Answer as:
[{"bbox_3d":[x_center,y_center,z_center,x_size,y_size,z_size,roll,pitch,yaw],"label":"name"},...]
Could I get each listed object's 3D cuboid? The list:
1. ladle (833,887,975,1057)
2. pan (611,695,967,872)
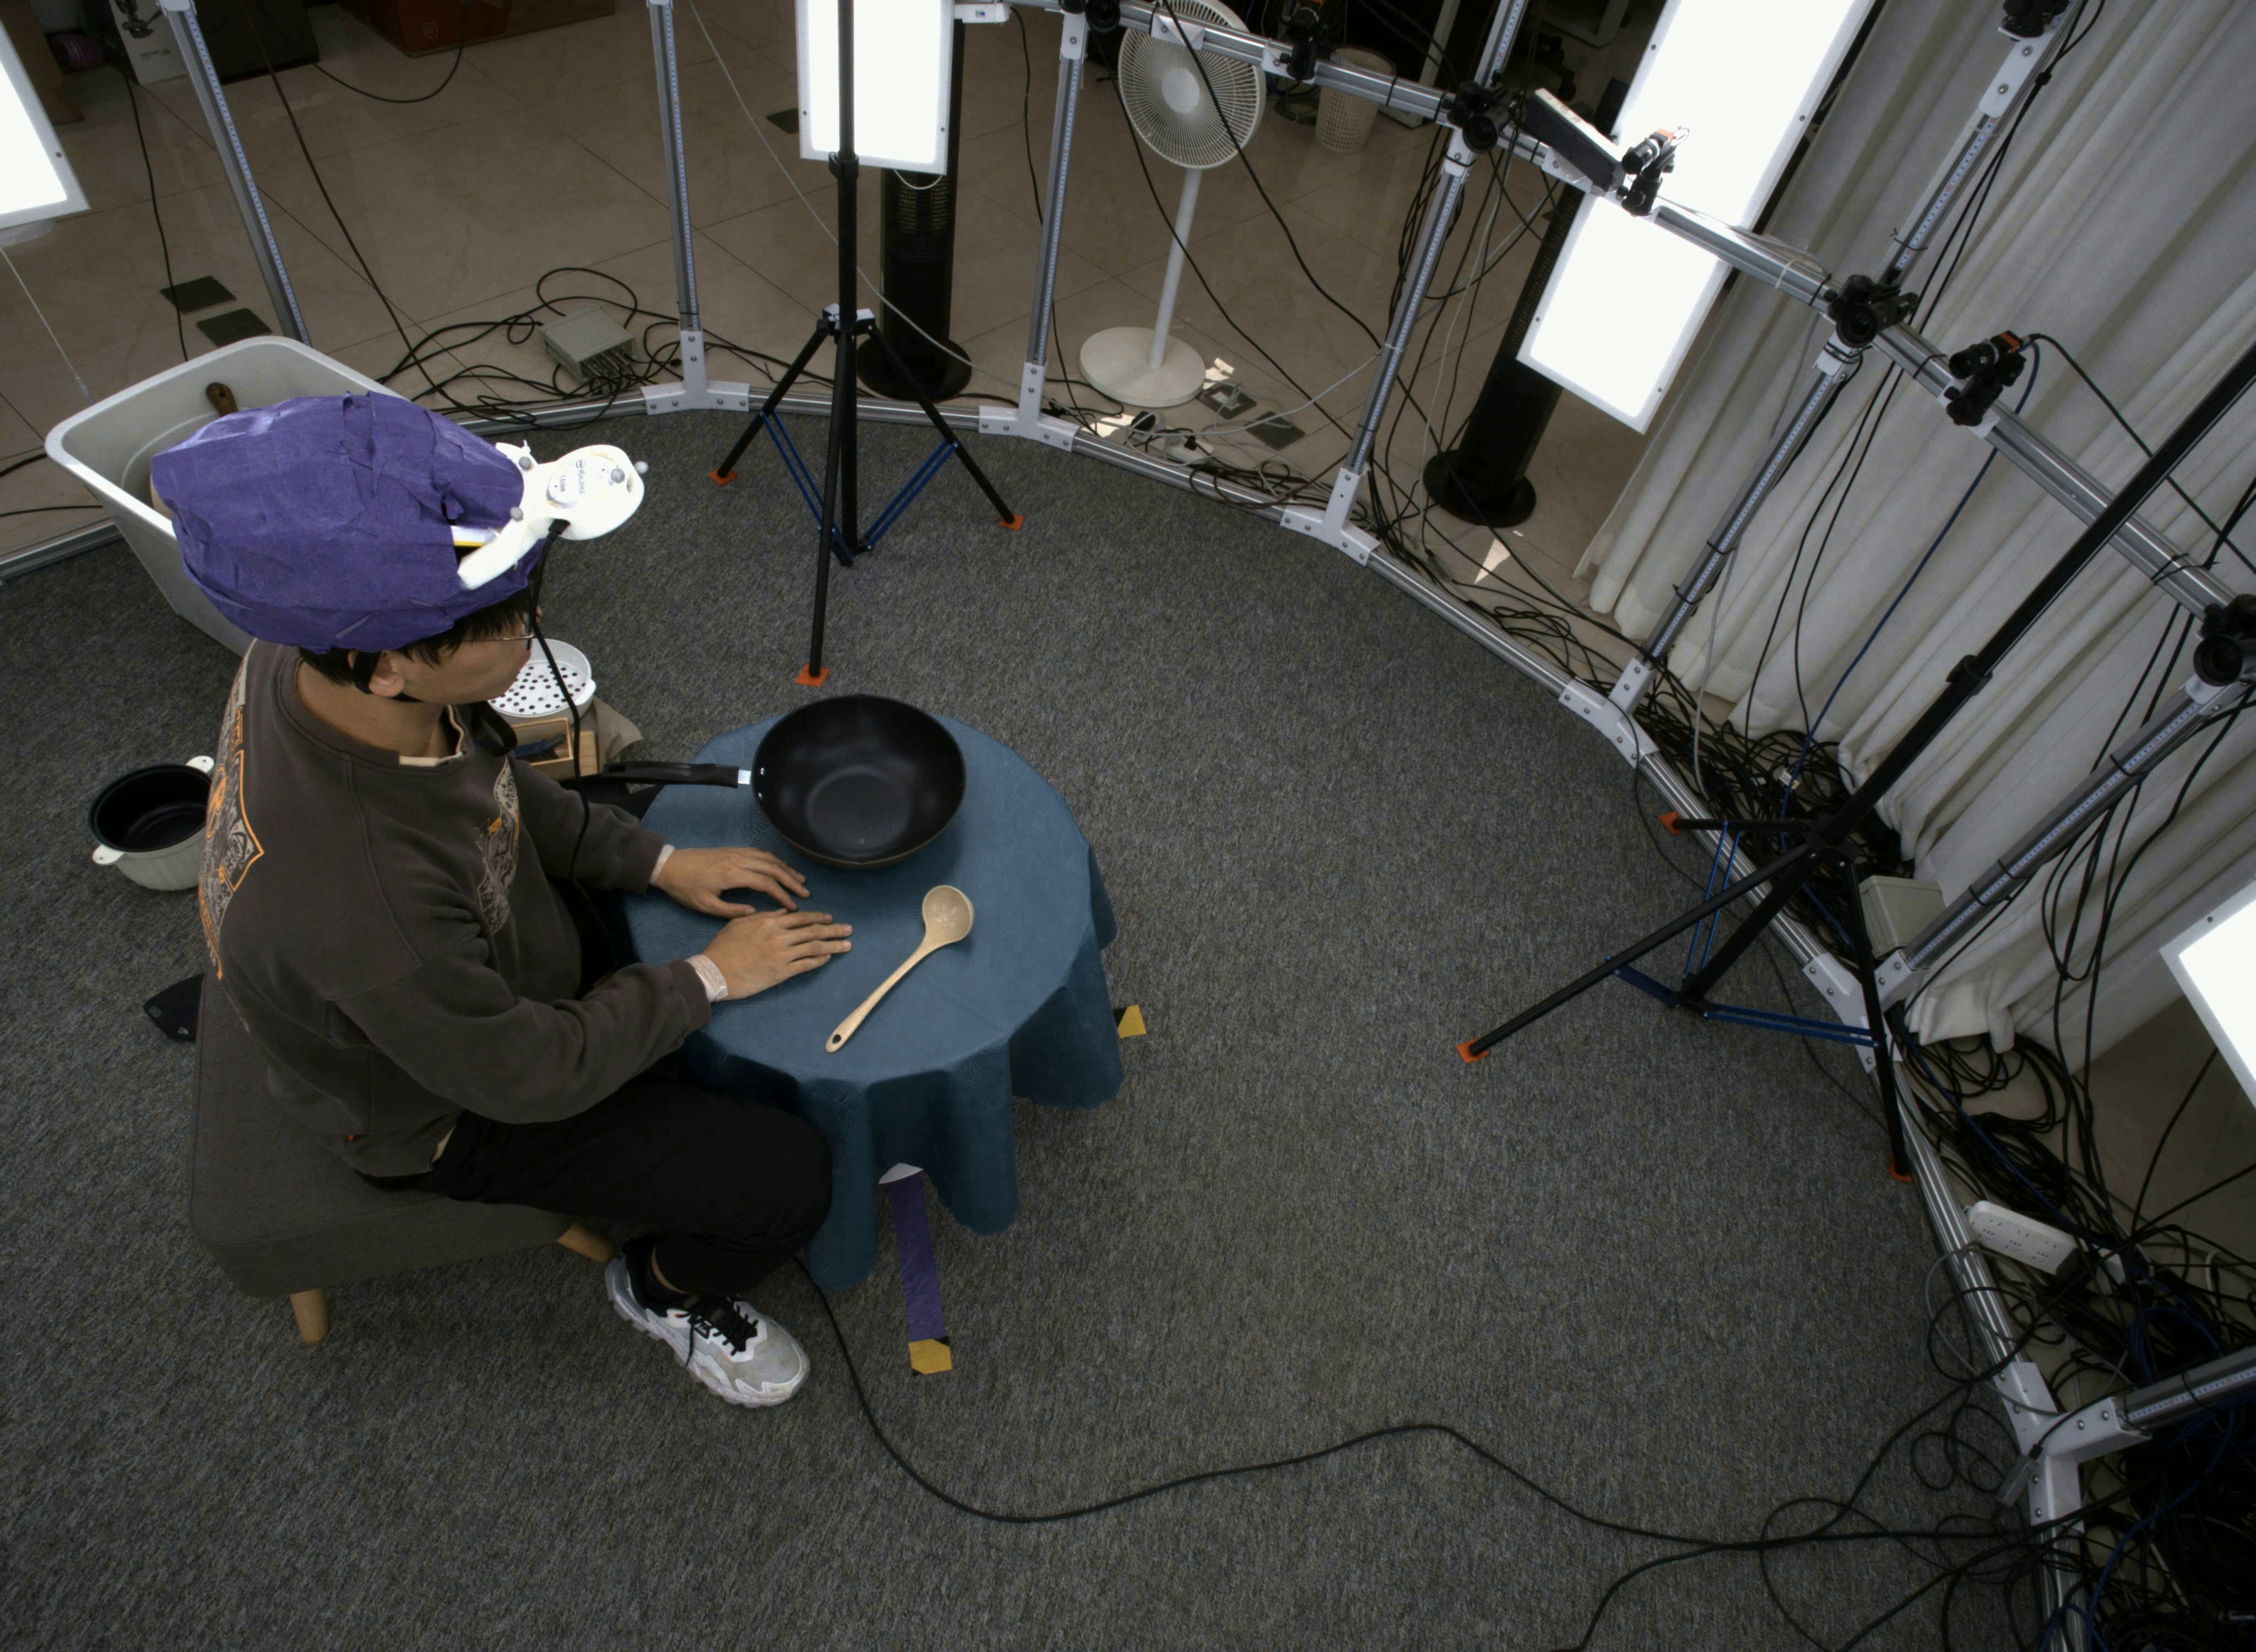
[{"bbox_3d":[-0.280,0.172,1.600,0.071,0.074,0.254,32,52,10],"label":"ladle"},{"bbox_3d":[-0.444,-0.044,1.713,0.463,0.089,0.282,0,54,-12],"label":"pan"}]
